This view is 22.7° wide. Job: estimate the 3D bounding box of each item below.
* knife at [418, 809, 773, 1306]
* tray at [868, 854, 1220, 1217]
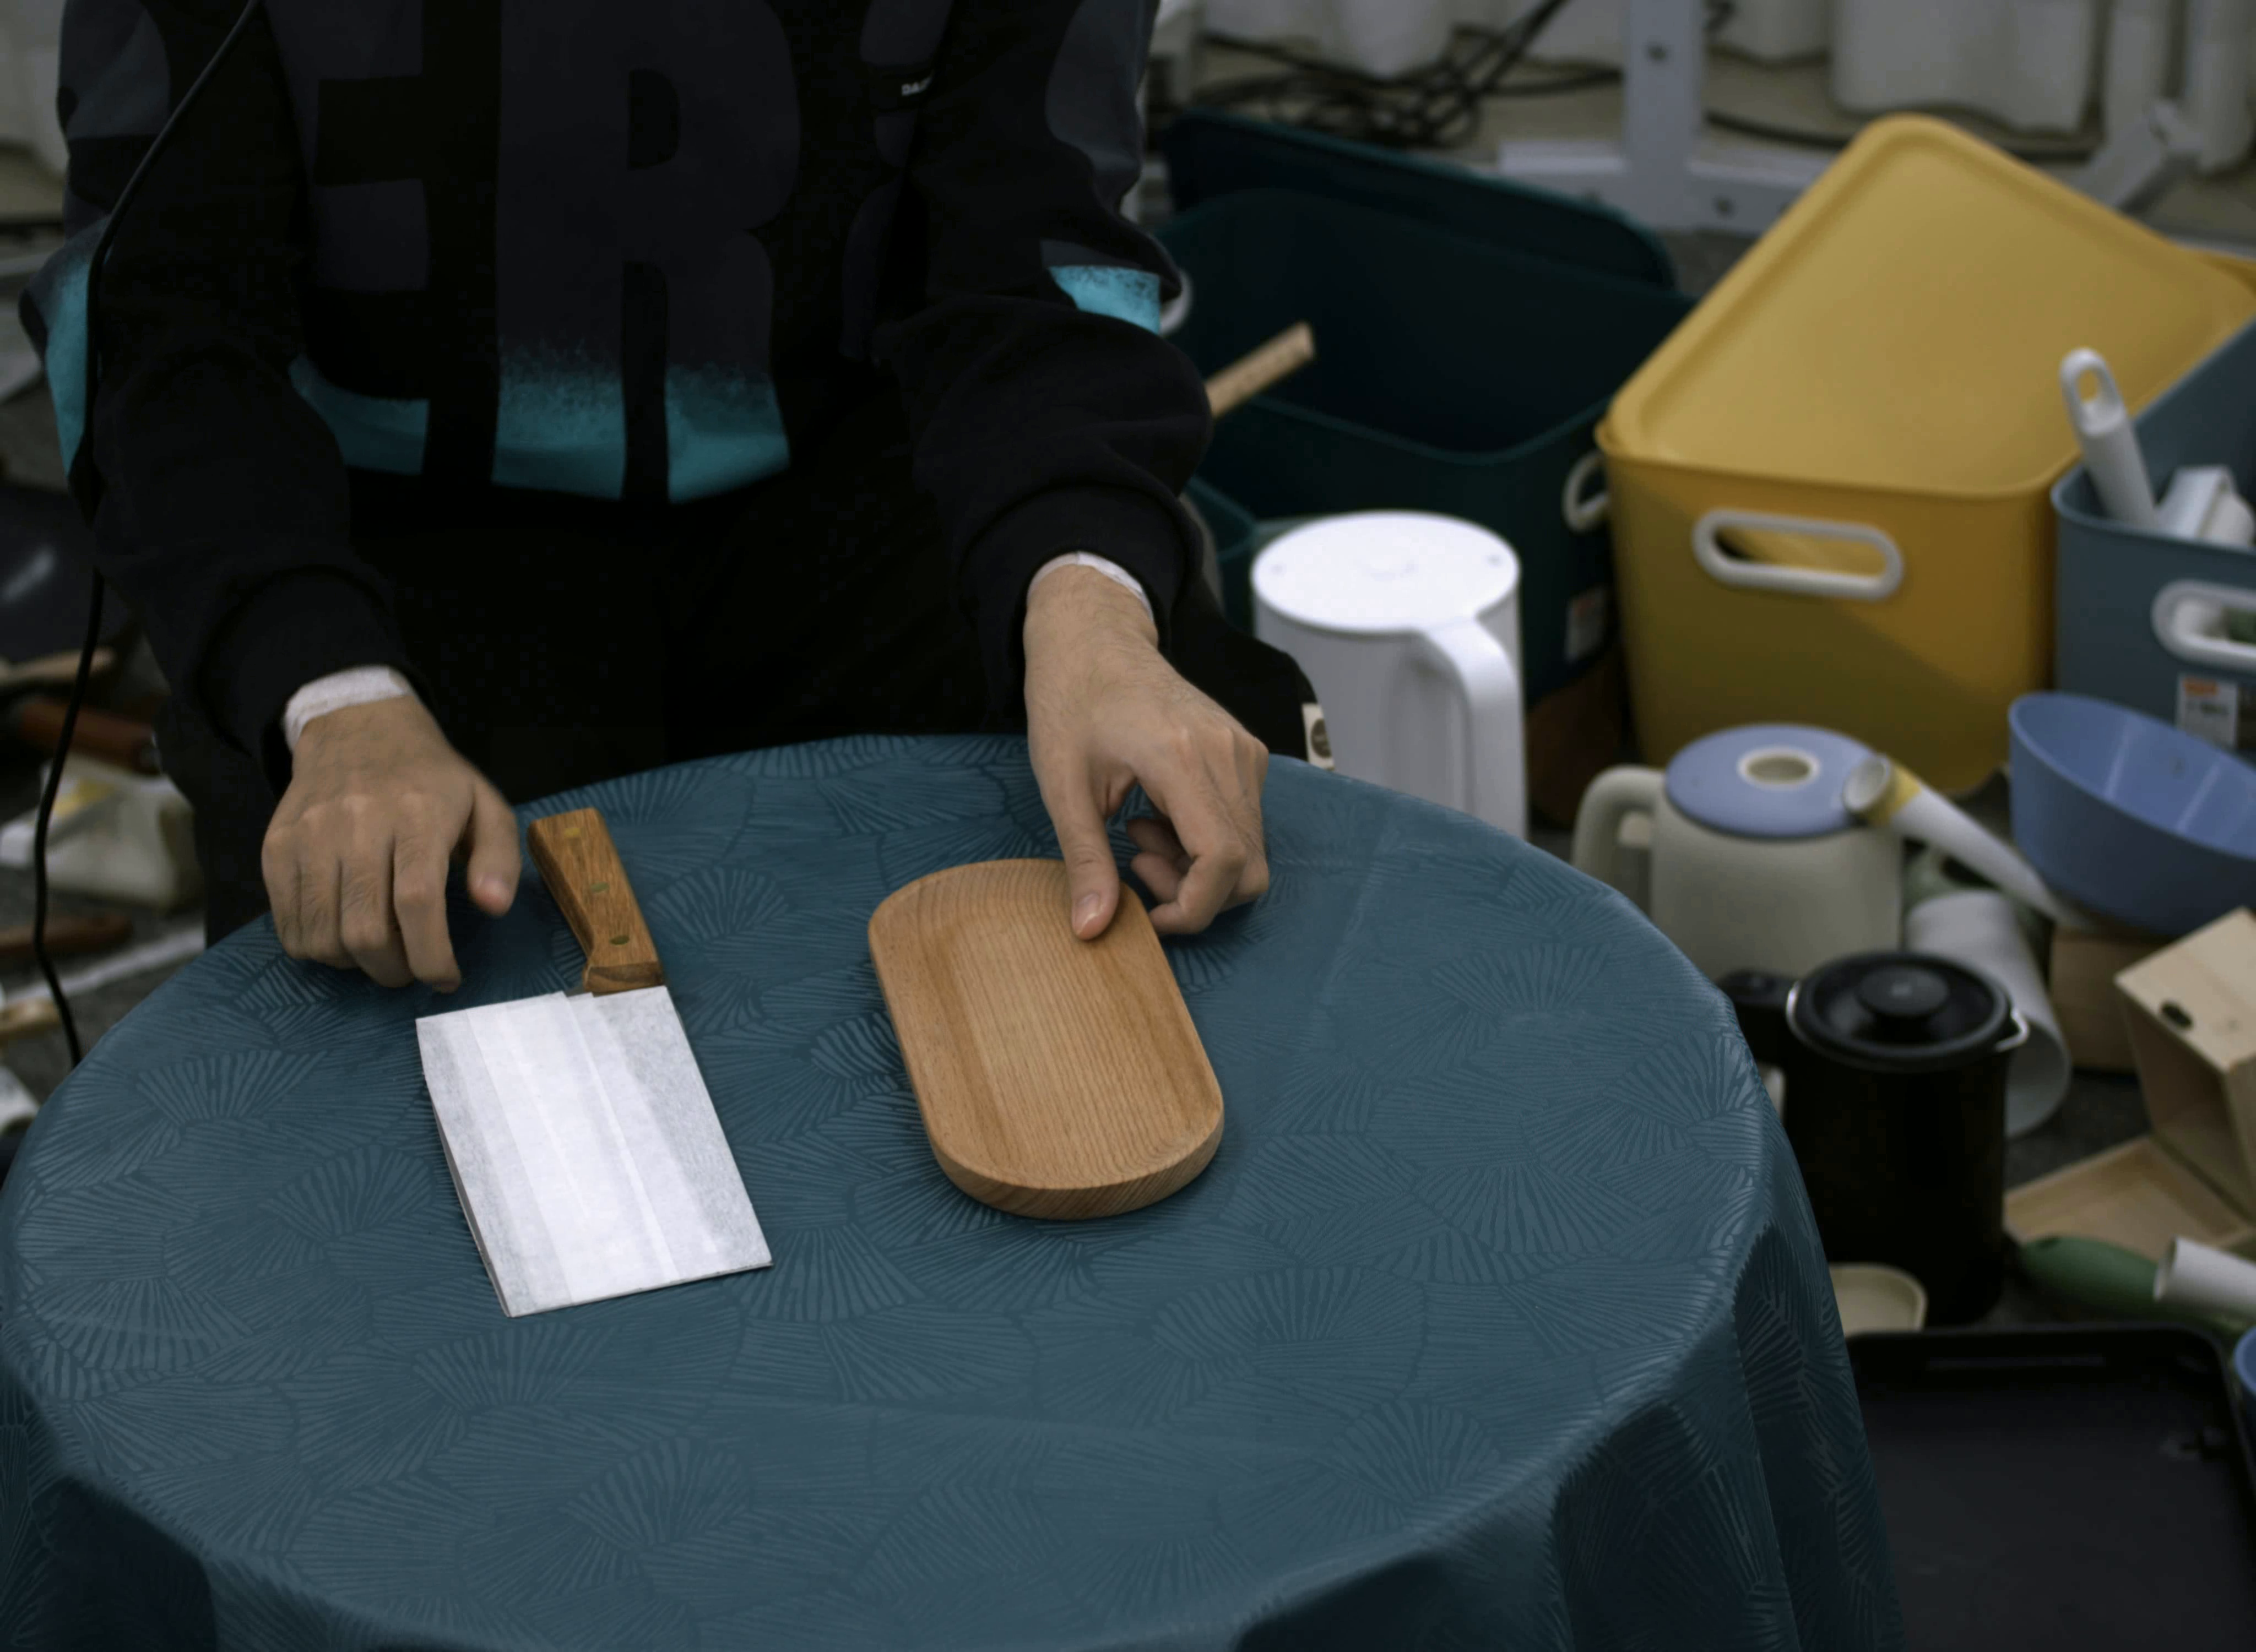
[{"bbox_3d":[-0.196,0.079,1.948,0.093,0.021,0.309,-11,31,-11],"label":"knife"},{"bbox_3d":[-0.031,0.070,1.946,0.101,0.020,0.234,-6,27,-8],"label":"tray"}]
